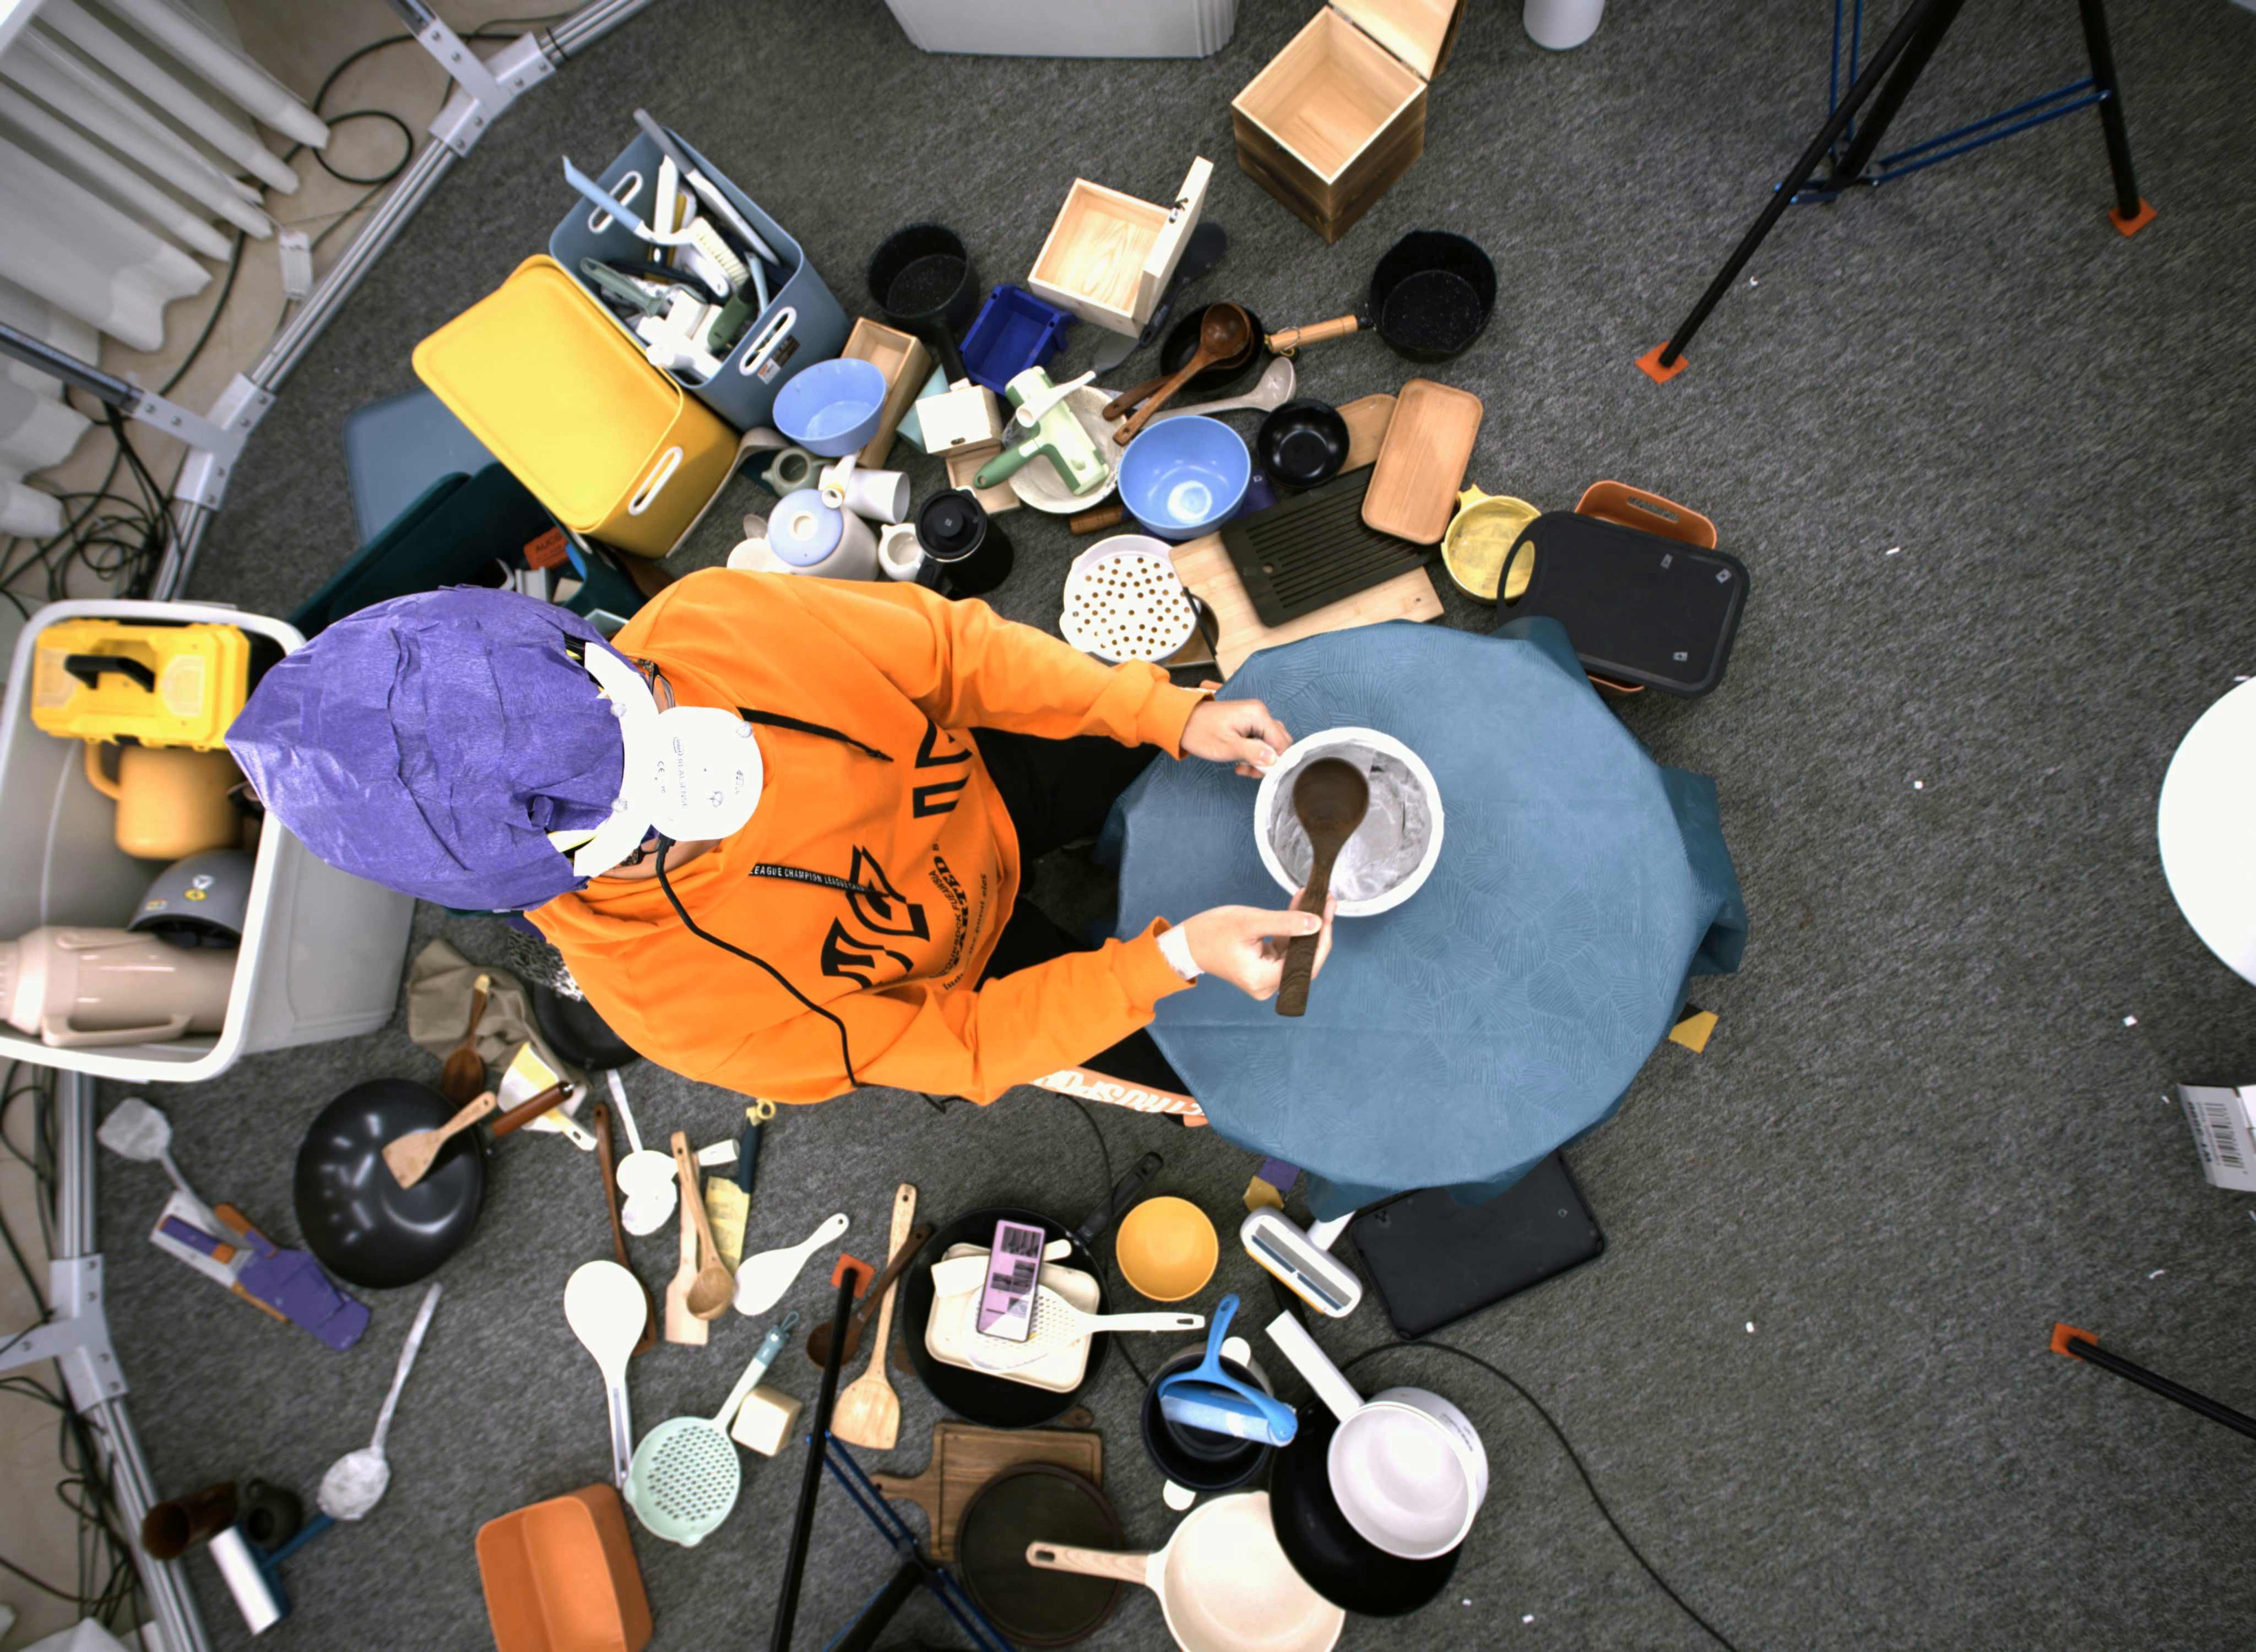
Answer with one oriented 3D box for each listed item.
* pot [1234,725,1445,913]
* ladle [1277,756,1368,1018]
[{"bbox_3d":[0.200,-0.019,1.366,0.233,0.136,0.179,36,95,12],"label":"pot"},{"bbox_3d":[0.164,0.044,1.239,0.076,0.073,0.266,0,44,20],"label":"ladle"}]
